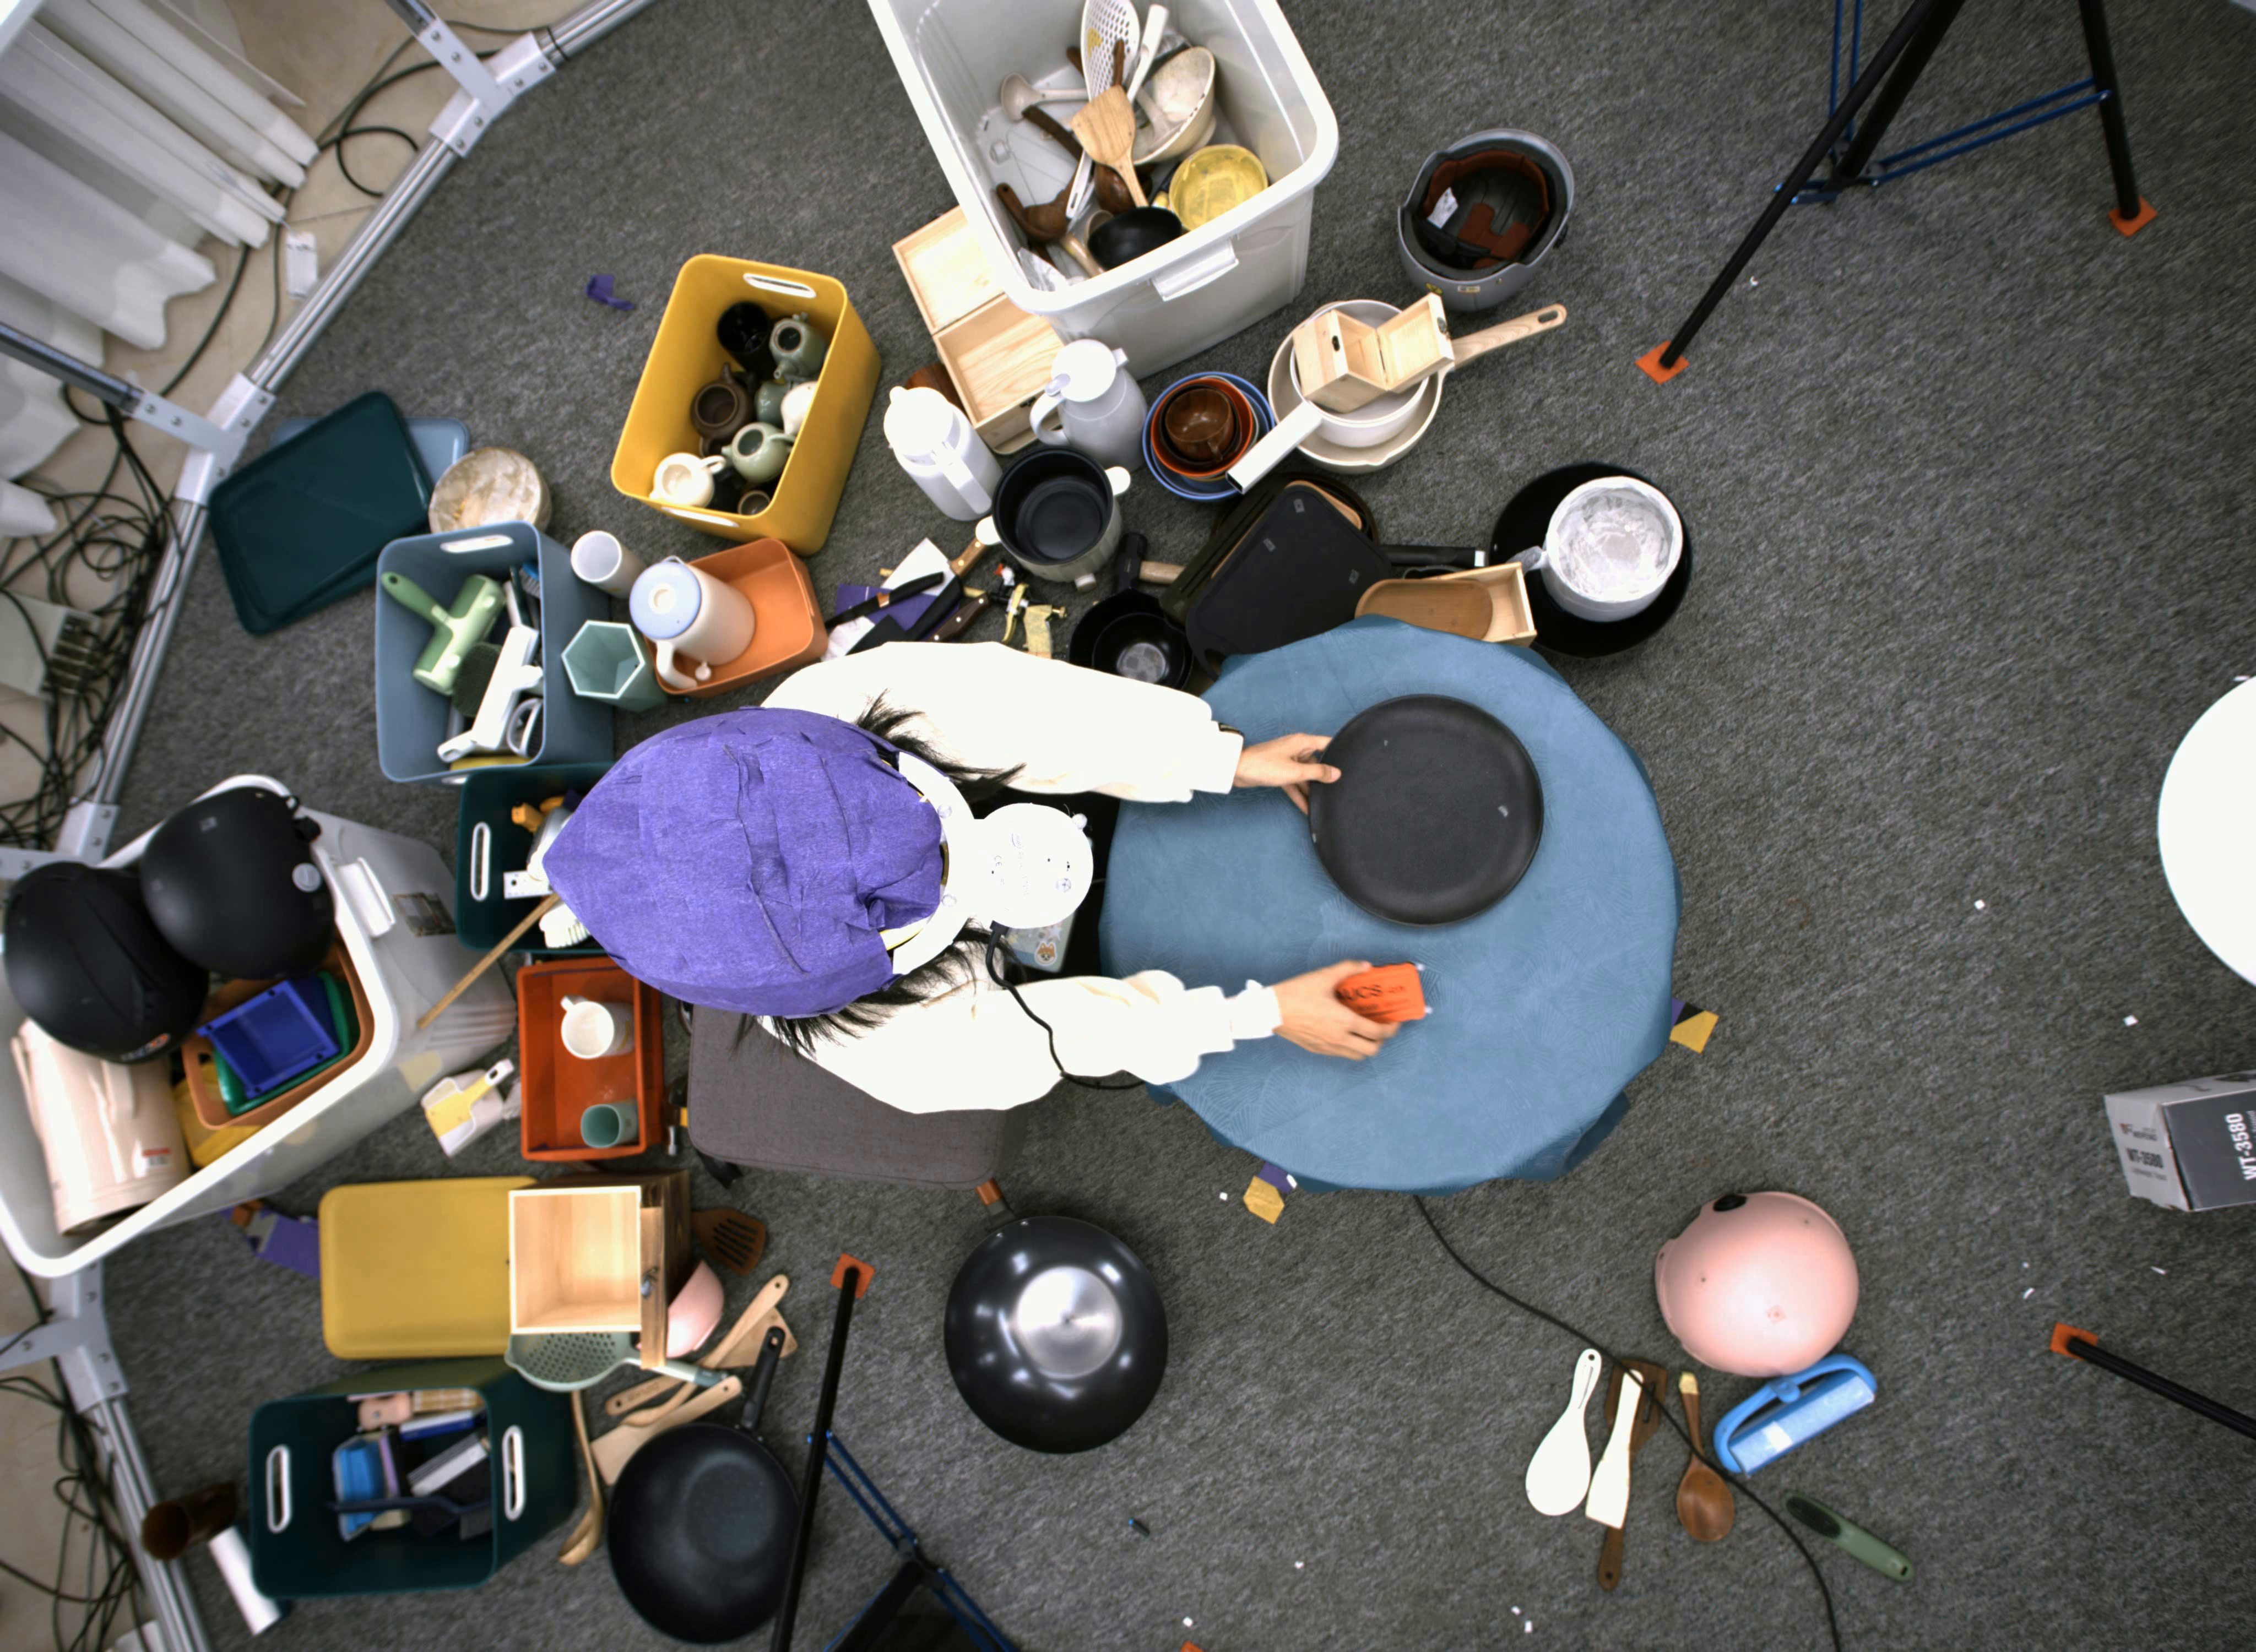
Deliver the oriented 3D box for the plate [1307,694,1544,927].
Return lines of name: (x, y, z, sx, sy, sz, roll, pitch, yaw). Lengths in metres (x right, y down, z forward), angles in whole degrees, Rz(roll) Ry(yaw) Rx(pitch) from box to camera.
plate: (0.309, -0.018, 1.438, 0.245, 0.023, 0.244, 0, 91, 7)

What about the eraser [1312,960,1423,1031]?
eraser: (0.247, 0.174, 1.427, 0.109, 0.022, 0.060, -12, 108, 17)
